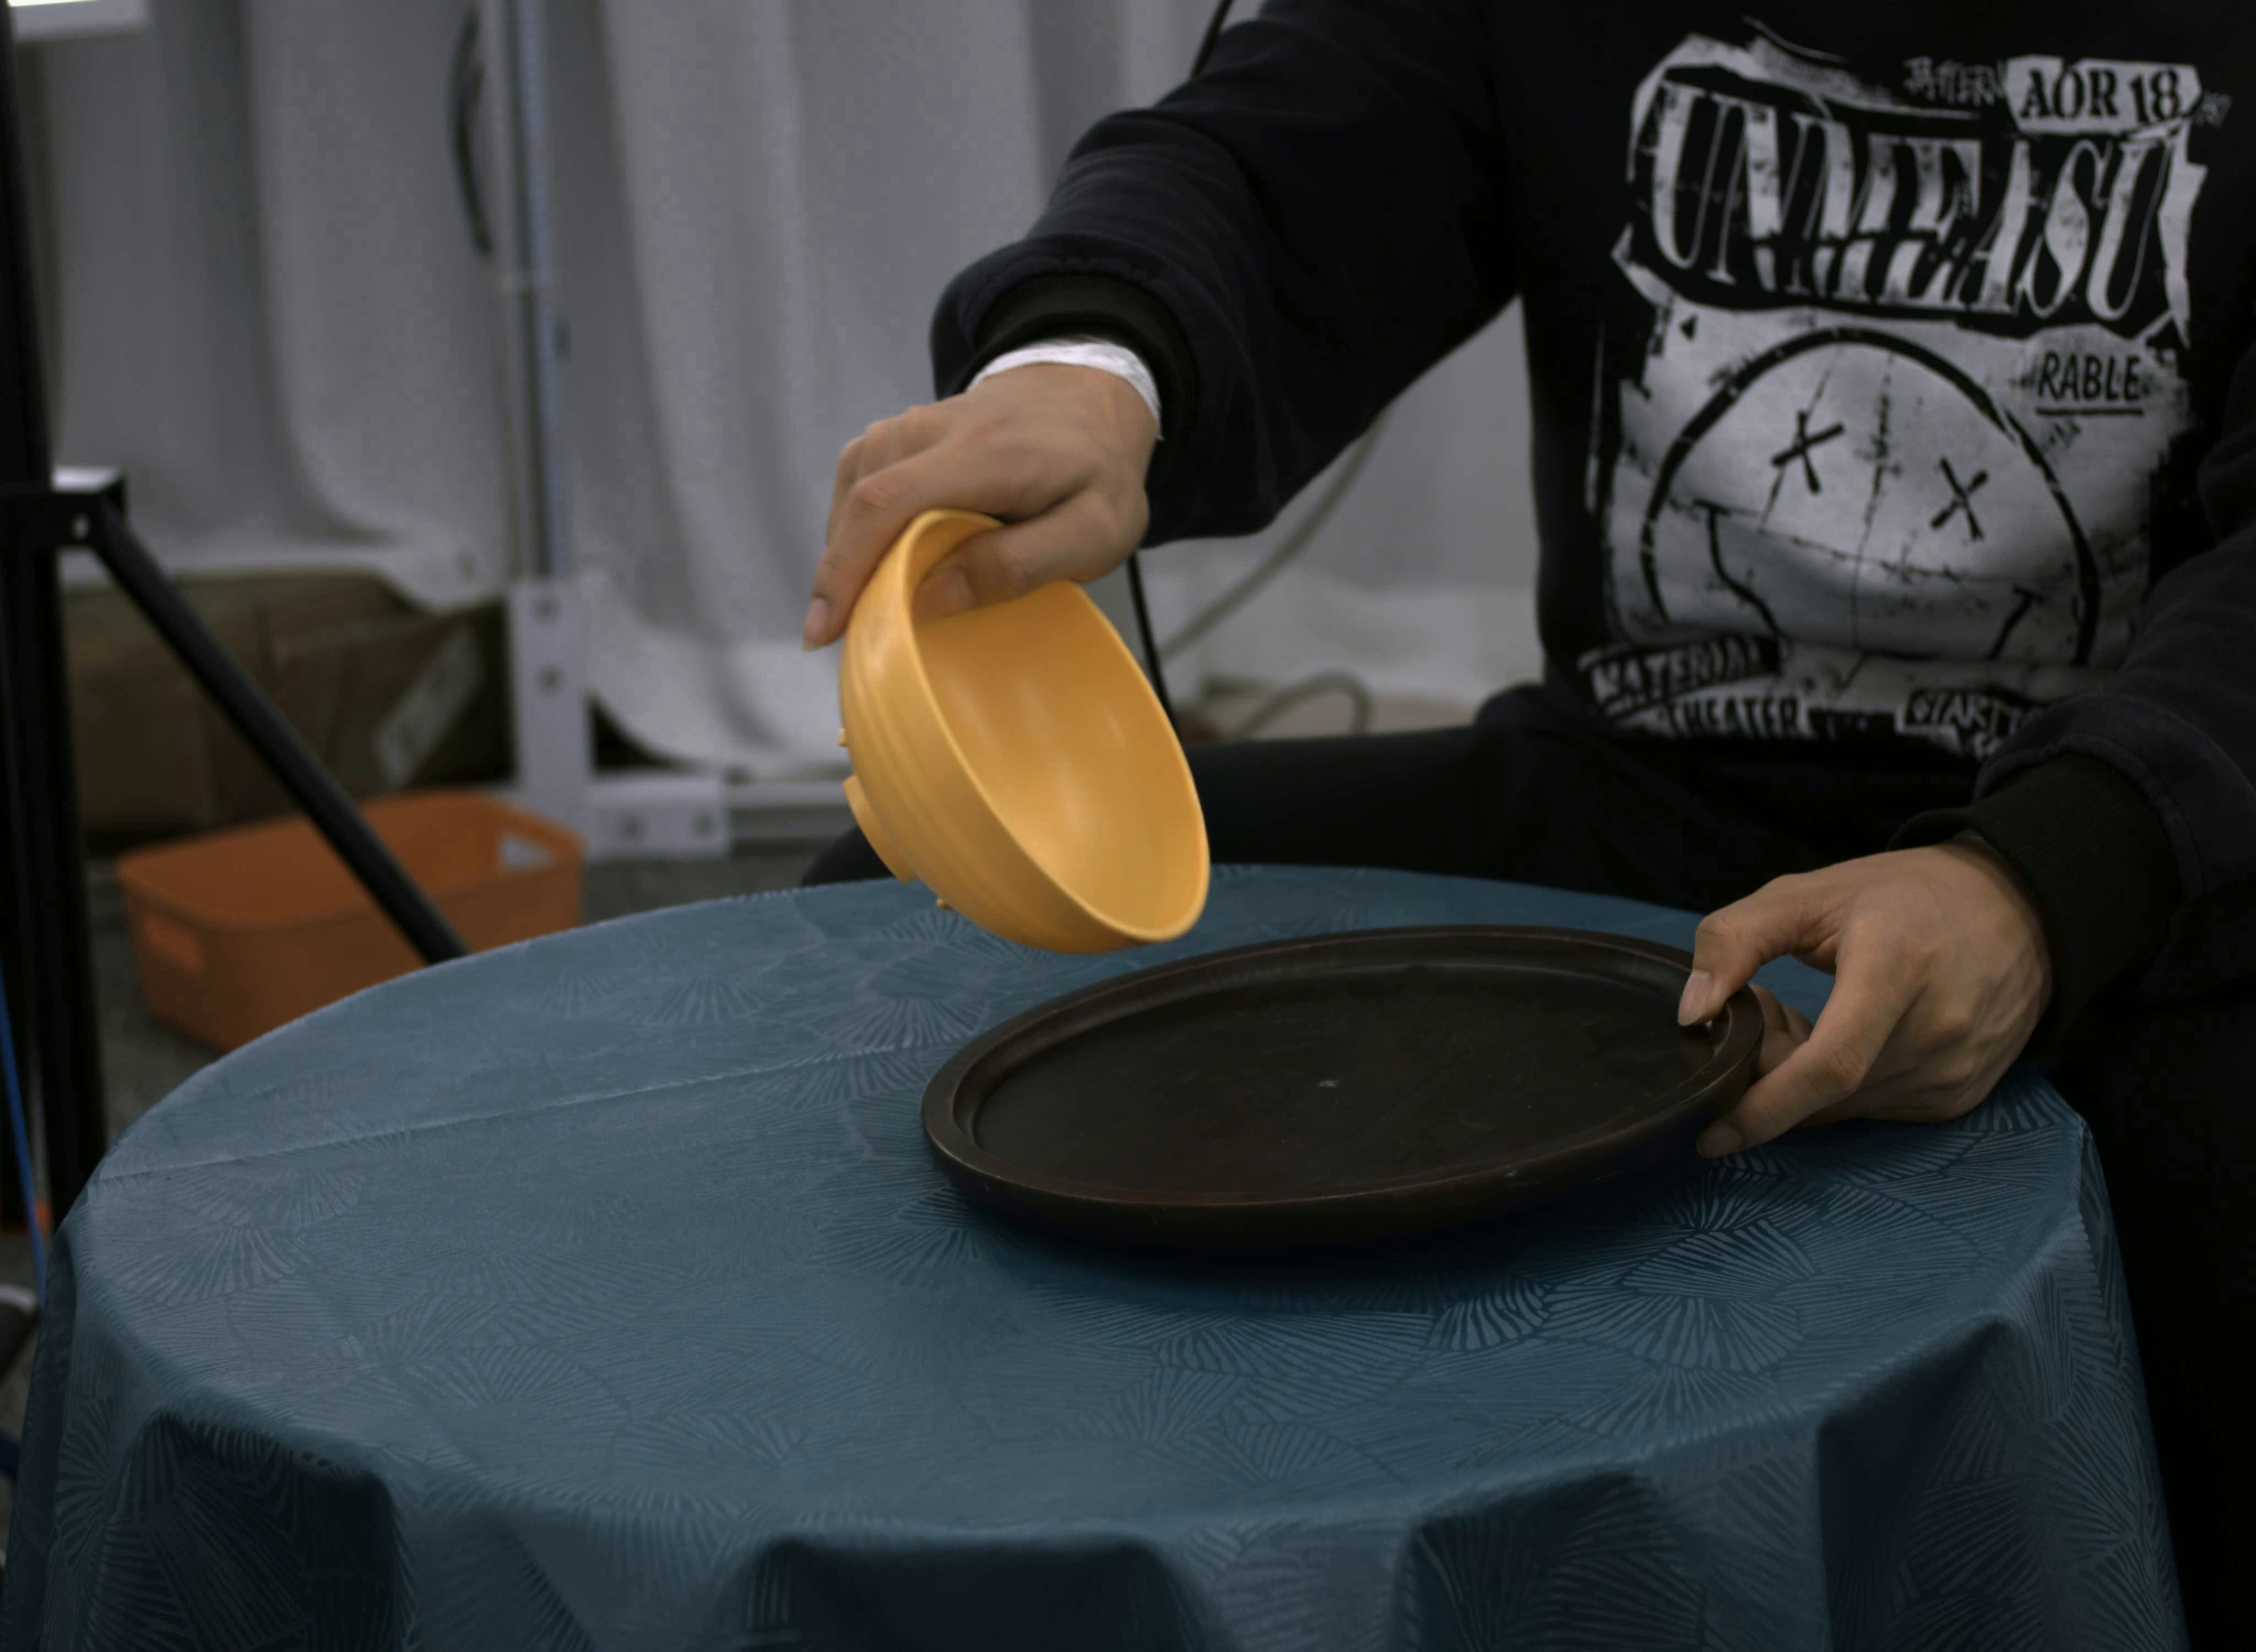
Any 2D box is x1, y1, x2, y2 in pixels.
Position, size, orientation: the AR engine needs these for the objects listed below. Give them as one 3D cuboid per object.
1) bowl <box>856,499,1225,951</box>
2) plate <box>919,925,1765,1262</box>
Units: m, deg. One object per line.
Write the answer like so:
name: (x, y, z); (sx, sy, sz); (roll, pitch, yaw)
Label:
bowl: (-0.037, -0.020, 1.571); (0.061, 0.145, 0.143); (-31, 2, 27)
plate: (0.064, 0.078, 1.578); (0.254, 0.029, 0.256); (-9, 13, 1)
